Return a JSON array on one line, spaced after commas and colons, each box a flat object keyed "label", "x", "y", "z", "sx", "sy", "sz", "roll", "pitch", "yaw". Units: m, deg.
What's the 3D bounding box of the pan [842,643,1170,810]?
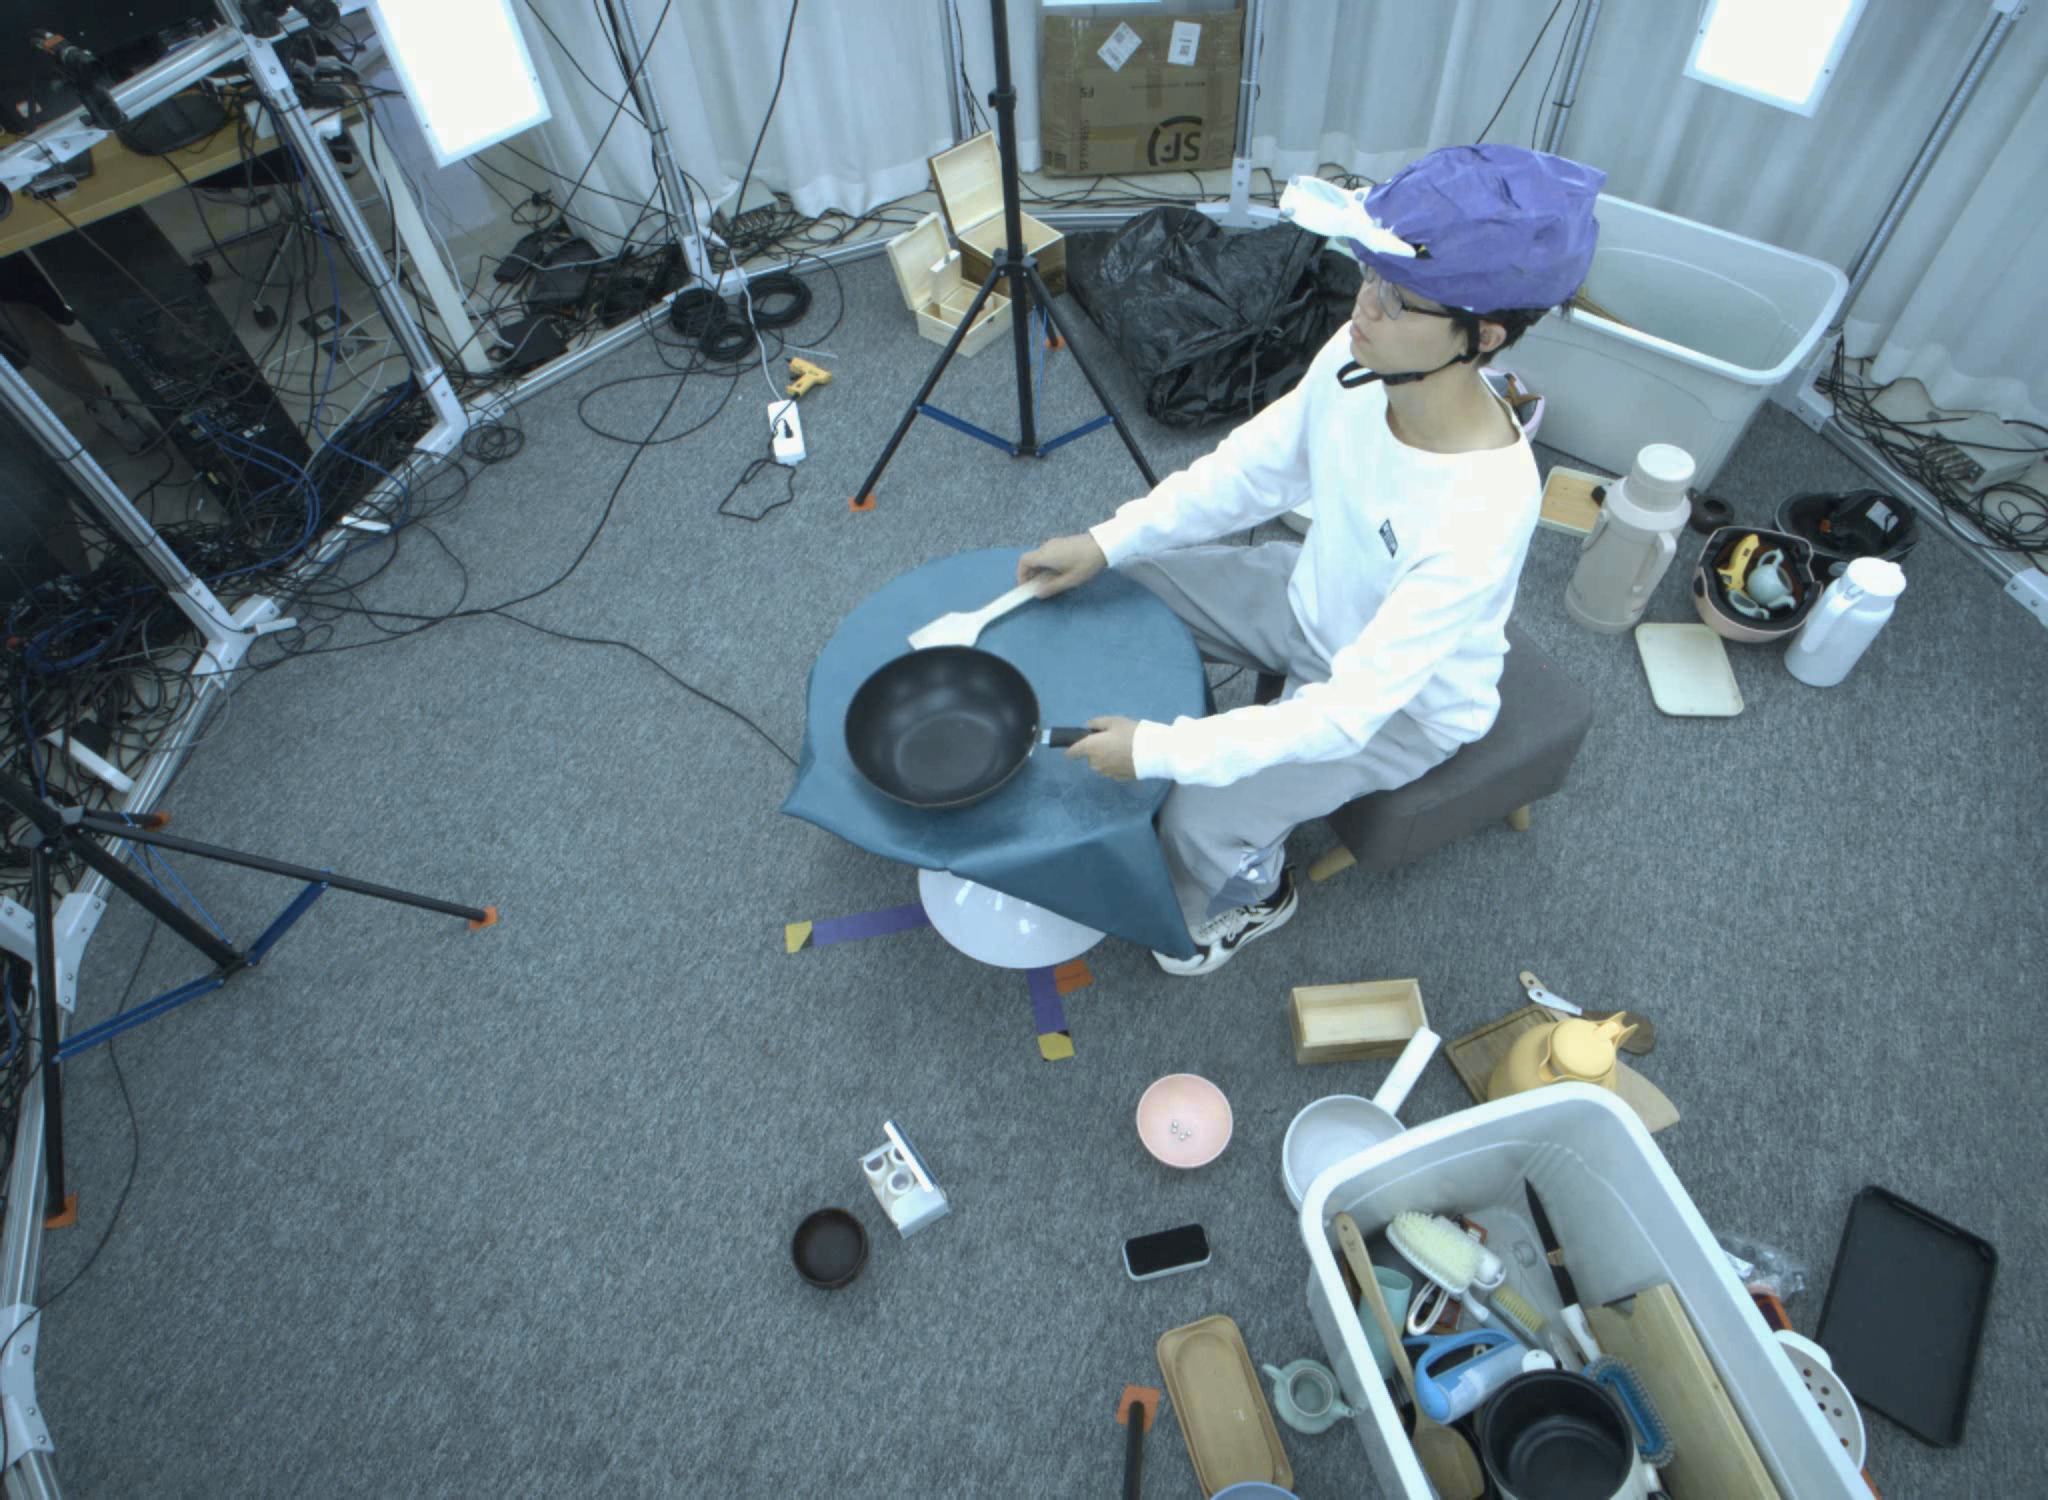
[{"label": "pan", "x": -0.025, "y": -0.010, "z": 1.741, "sx": 0.461, "sy": 0.088, "sz": 0.286, "roll": 7, "pitch": 56, "yaw": 6}]

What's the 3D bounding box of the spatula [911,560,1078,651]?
[{"label": "spatula", "x": -0.039, "y": -0.223, "z": 1.926, "sx": 0.295, "sy": 0.011, "sz": 0.071, "roll": -32, "pitch": 69, "yaw": -15}]
